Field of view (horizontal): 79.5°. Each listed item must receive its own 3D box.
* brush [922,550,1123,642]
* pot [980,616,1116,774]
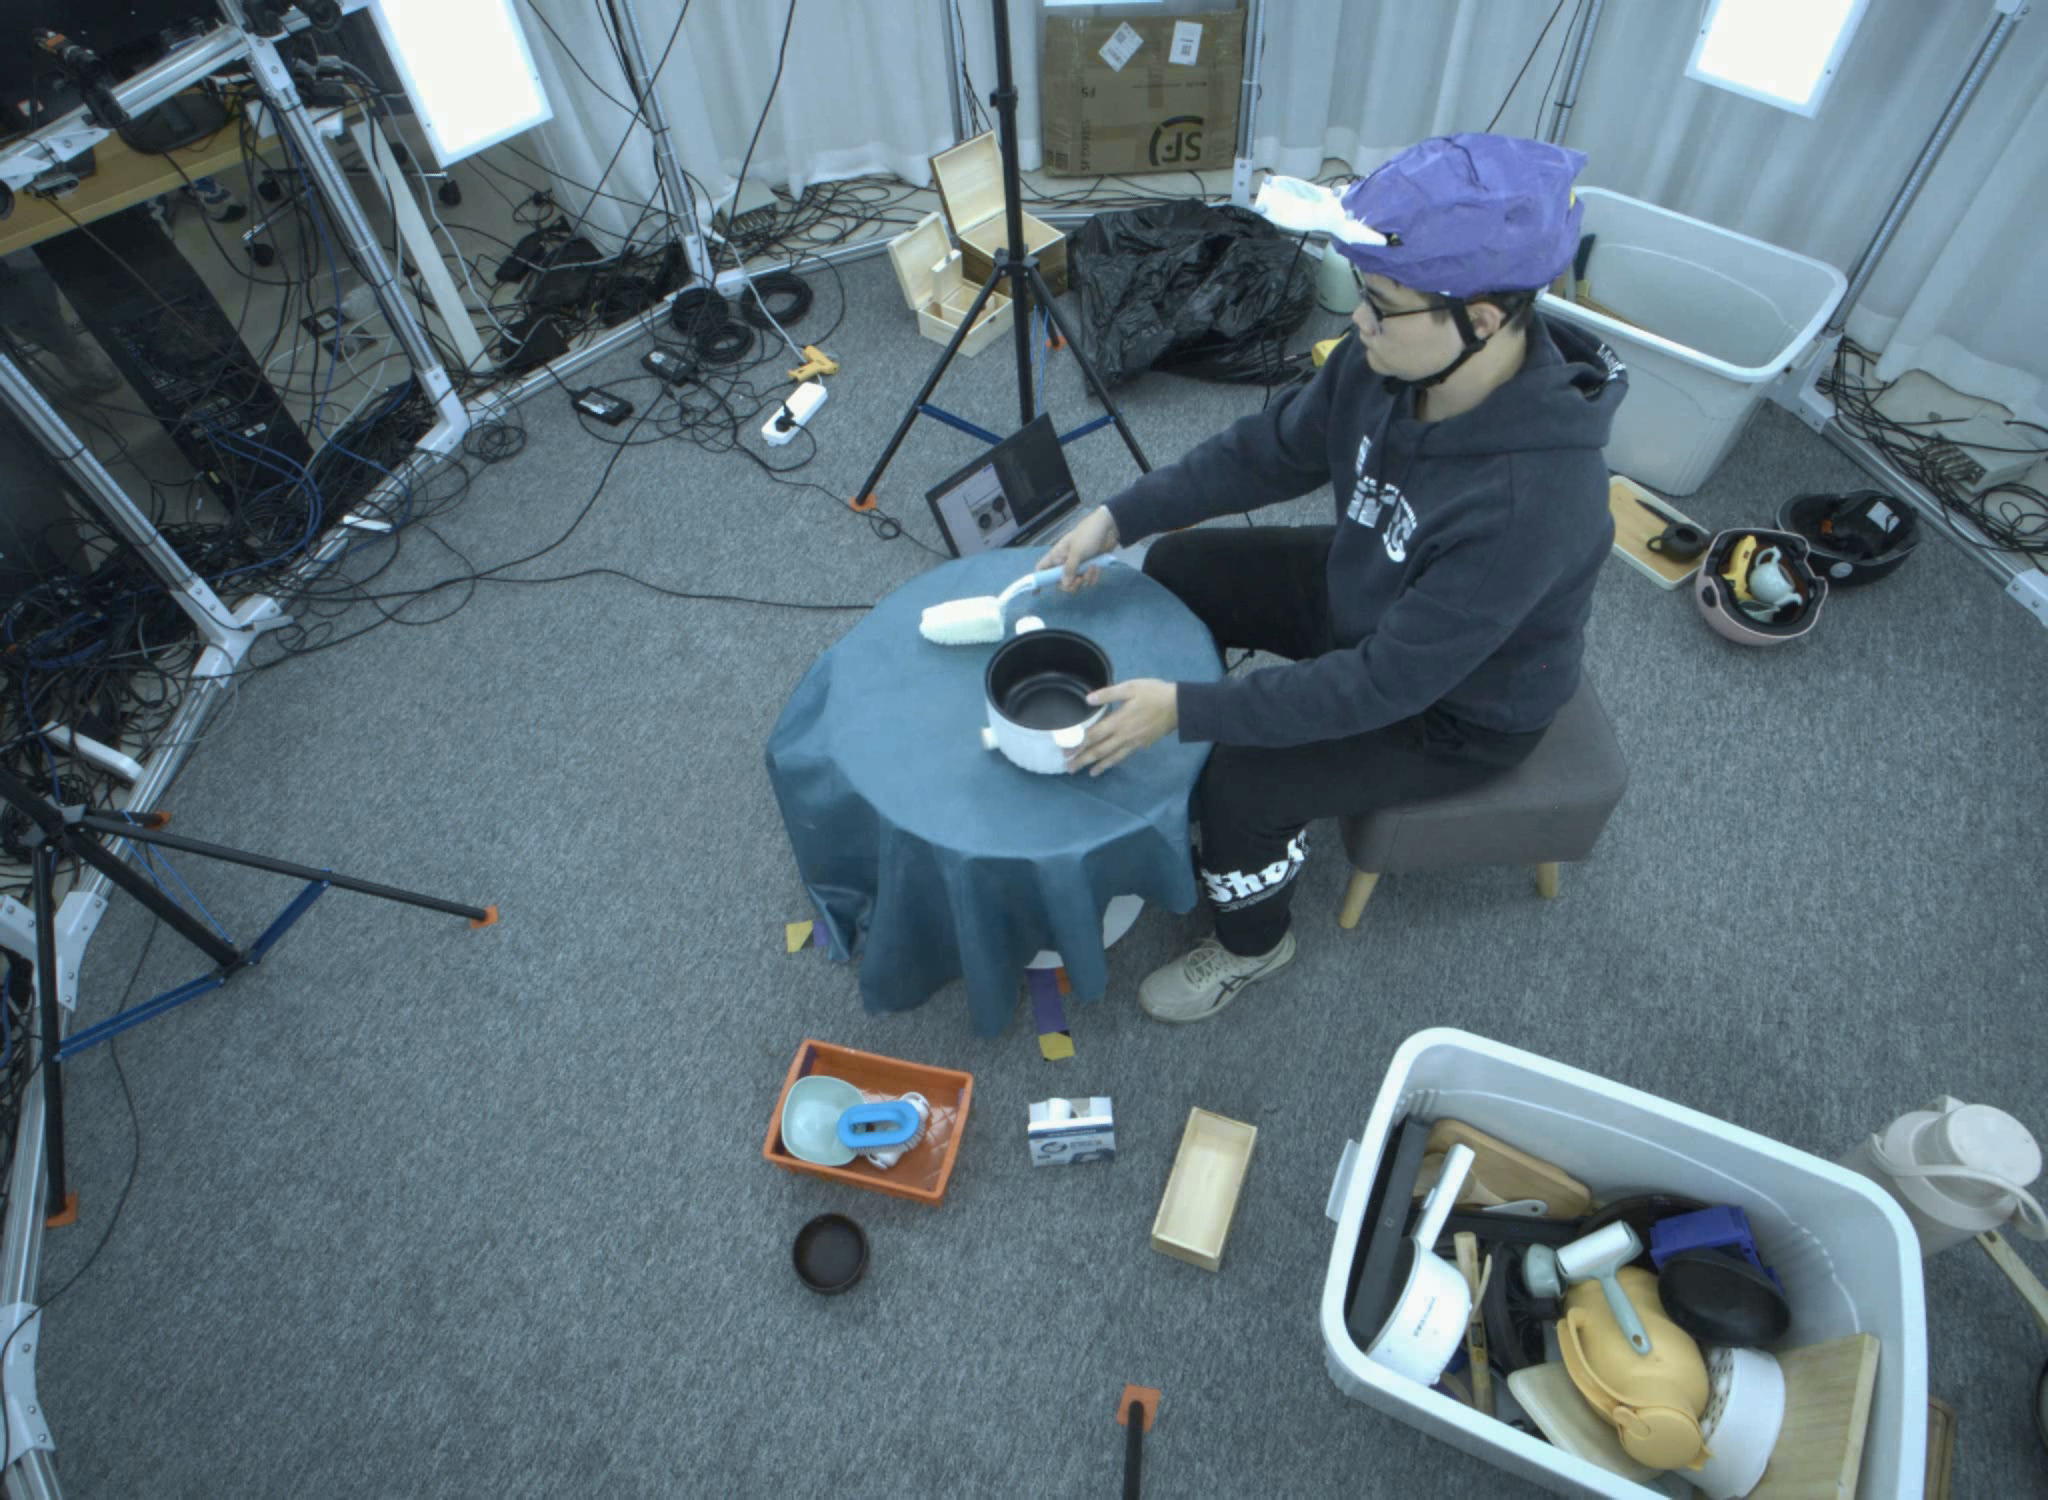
[{"bbox_3d":[0.000,-0.229,1.881,0.325,0.083,0.085,-16,95,3],"label":"brush"},{"bbox_3d":[0.032,-0.060,1.744,0.192,0.144,0.236,-13,54,-10],"label":"pot"}]
